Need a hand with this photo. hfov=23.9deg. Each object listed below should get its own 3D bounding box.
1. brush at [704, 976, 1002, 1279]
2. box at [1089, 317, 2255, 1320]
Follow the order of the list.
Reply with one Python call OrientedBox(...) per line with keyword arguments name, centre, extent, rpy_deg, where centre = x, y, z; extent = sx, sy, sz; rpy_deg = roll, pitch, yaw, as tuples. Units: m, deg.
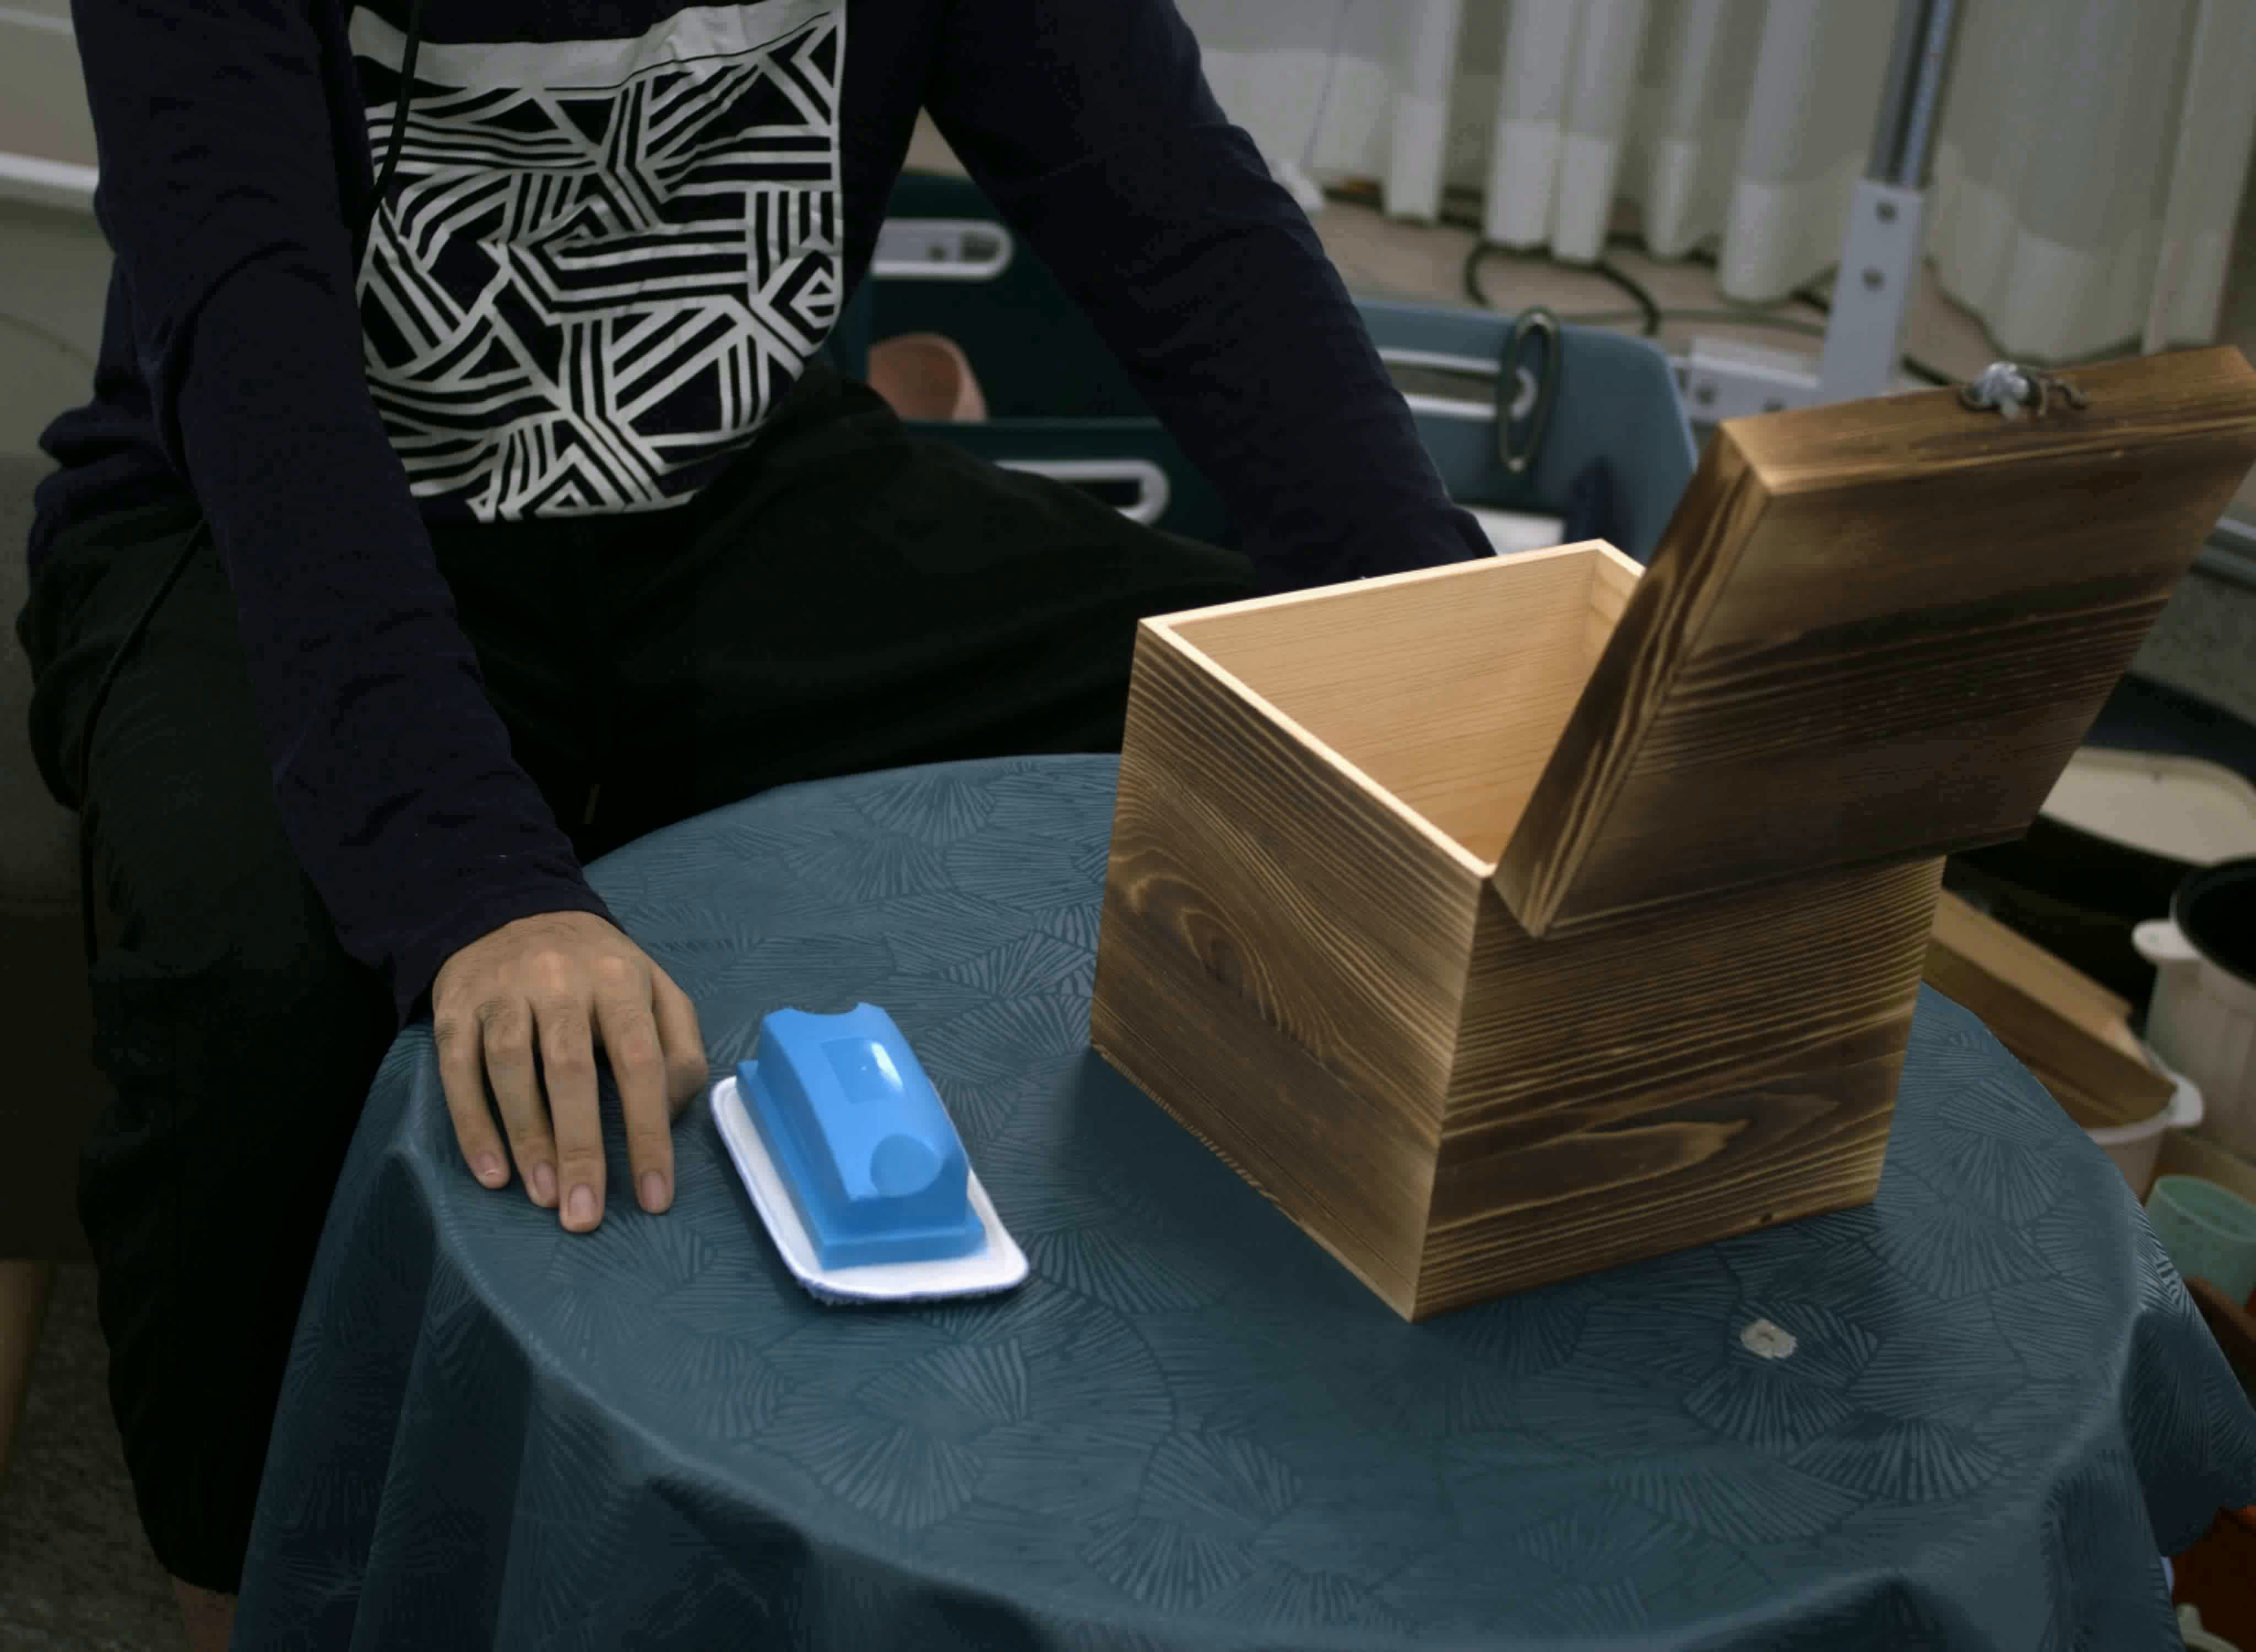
OrientedBox(name="brush", centre=(-0.089, 0.096, 1.775), extent=(0.083, 0.056, 0.145), rpy_deg=(1, 29, -17))
OrientedBox(name="box", centre=(0.171, -0.034, 1.756), extent=(0.207, 0.374, 0.325), rpy_deg=(-11, 31, -32))
